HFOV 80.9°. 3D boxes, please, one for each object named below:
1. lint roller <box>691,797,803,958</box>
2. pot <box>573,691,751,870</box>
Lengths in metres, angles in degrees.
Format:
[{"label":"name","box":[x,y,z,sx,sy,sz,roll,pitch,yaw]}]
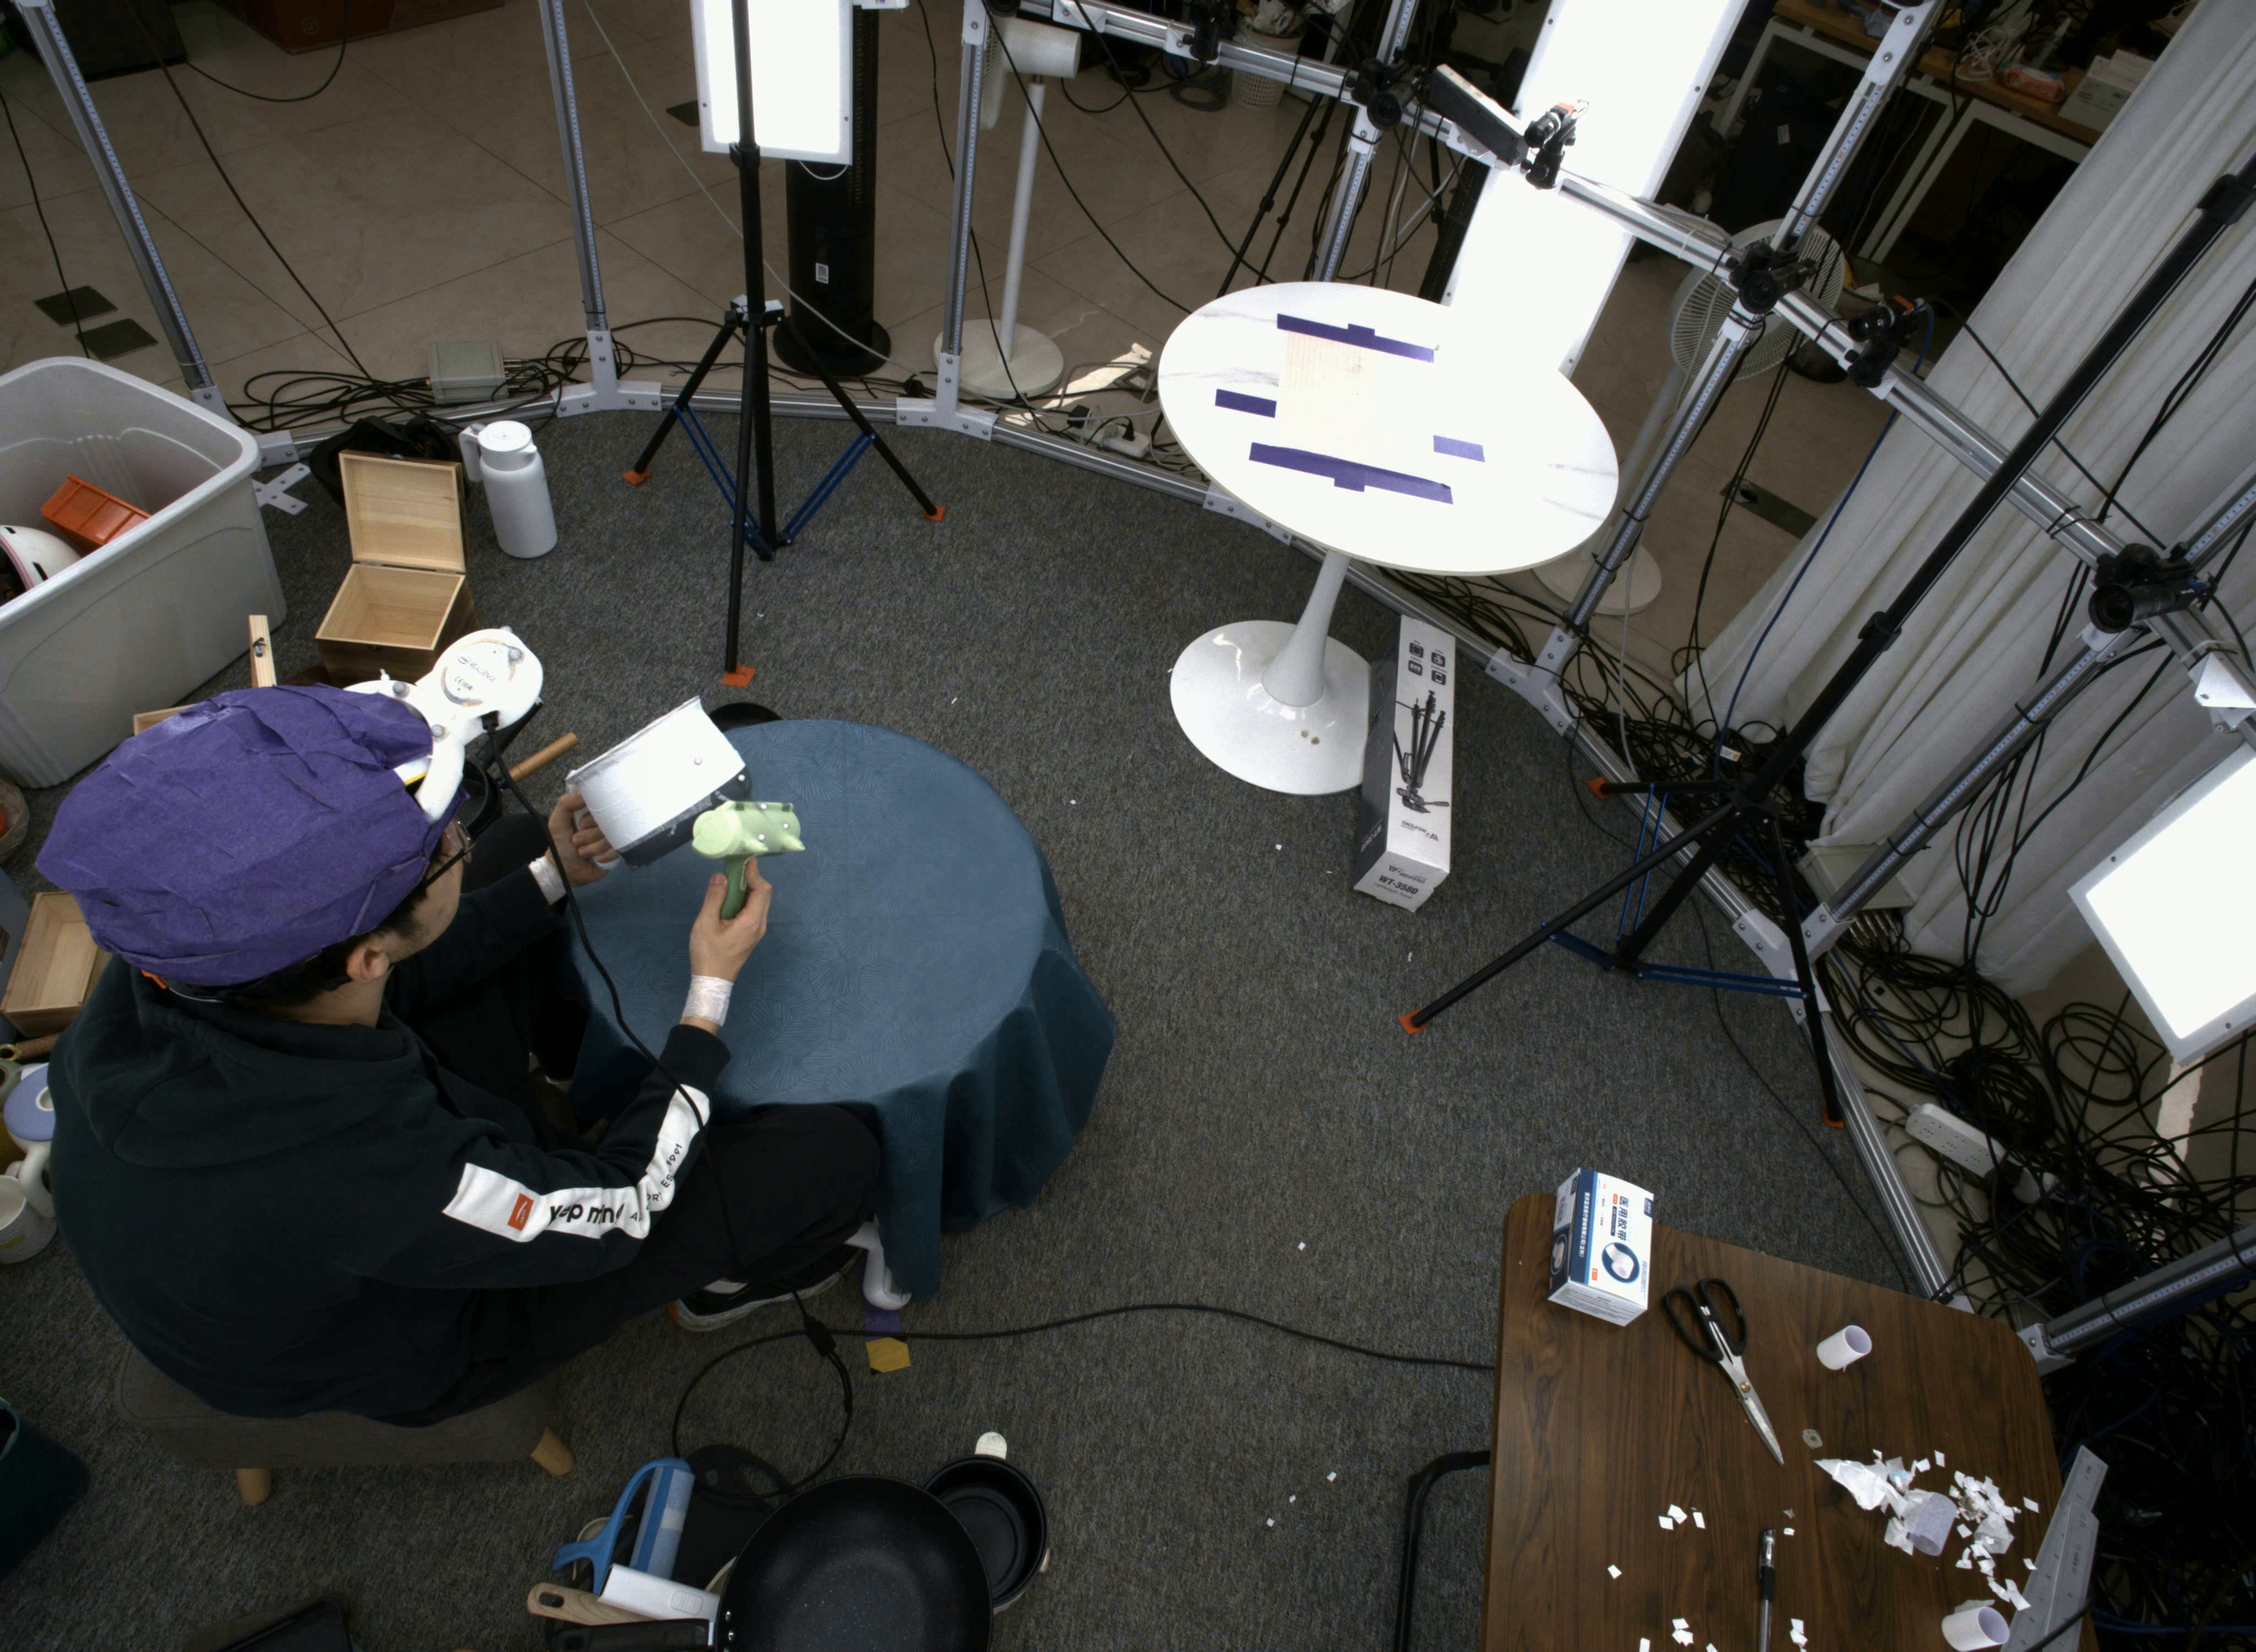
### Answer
[{"label":"lint roller","box":[-0.434,0.061,1.466,0.081,0.199,0.186,9,91,6]},{"label":"pot","box":[-0.559,-0.042,1.489,0.140,0.230,0.177,59,20,-15]}]
